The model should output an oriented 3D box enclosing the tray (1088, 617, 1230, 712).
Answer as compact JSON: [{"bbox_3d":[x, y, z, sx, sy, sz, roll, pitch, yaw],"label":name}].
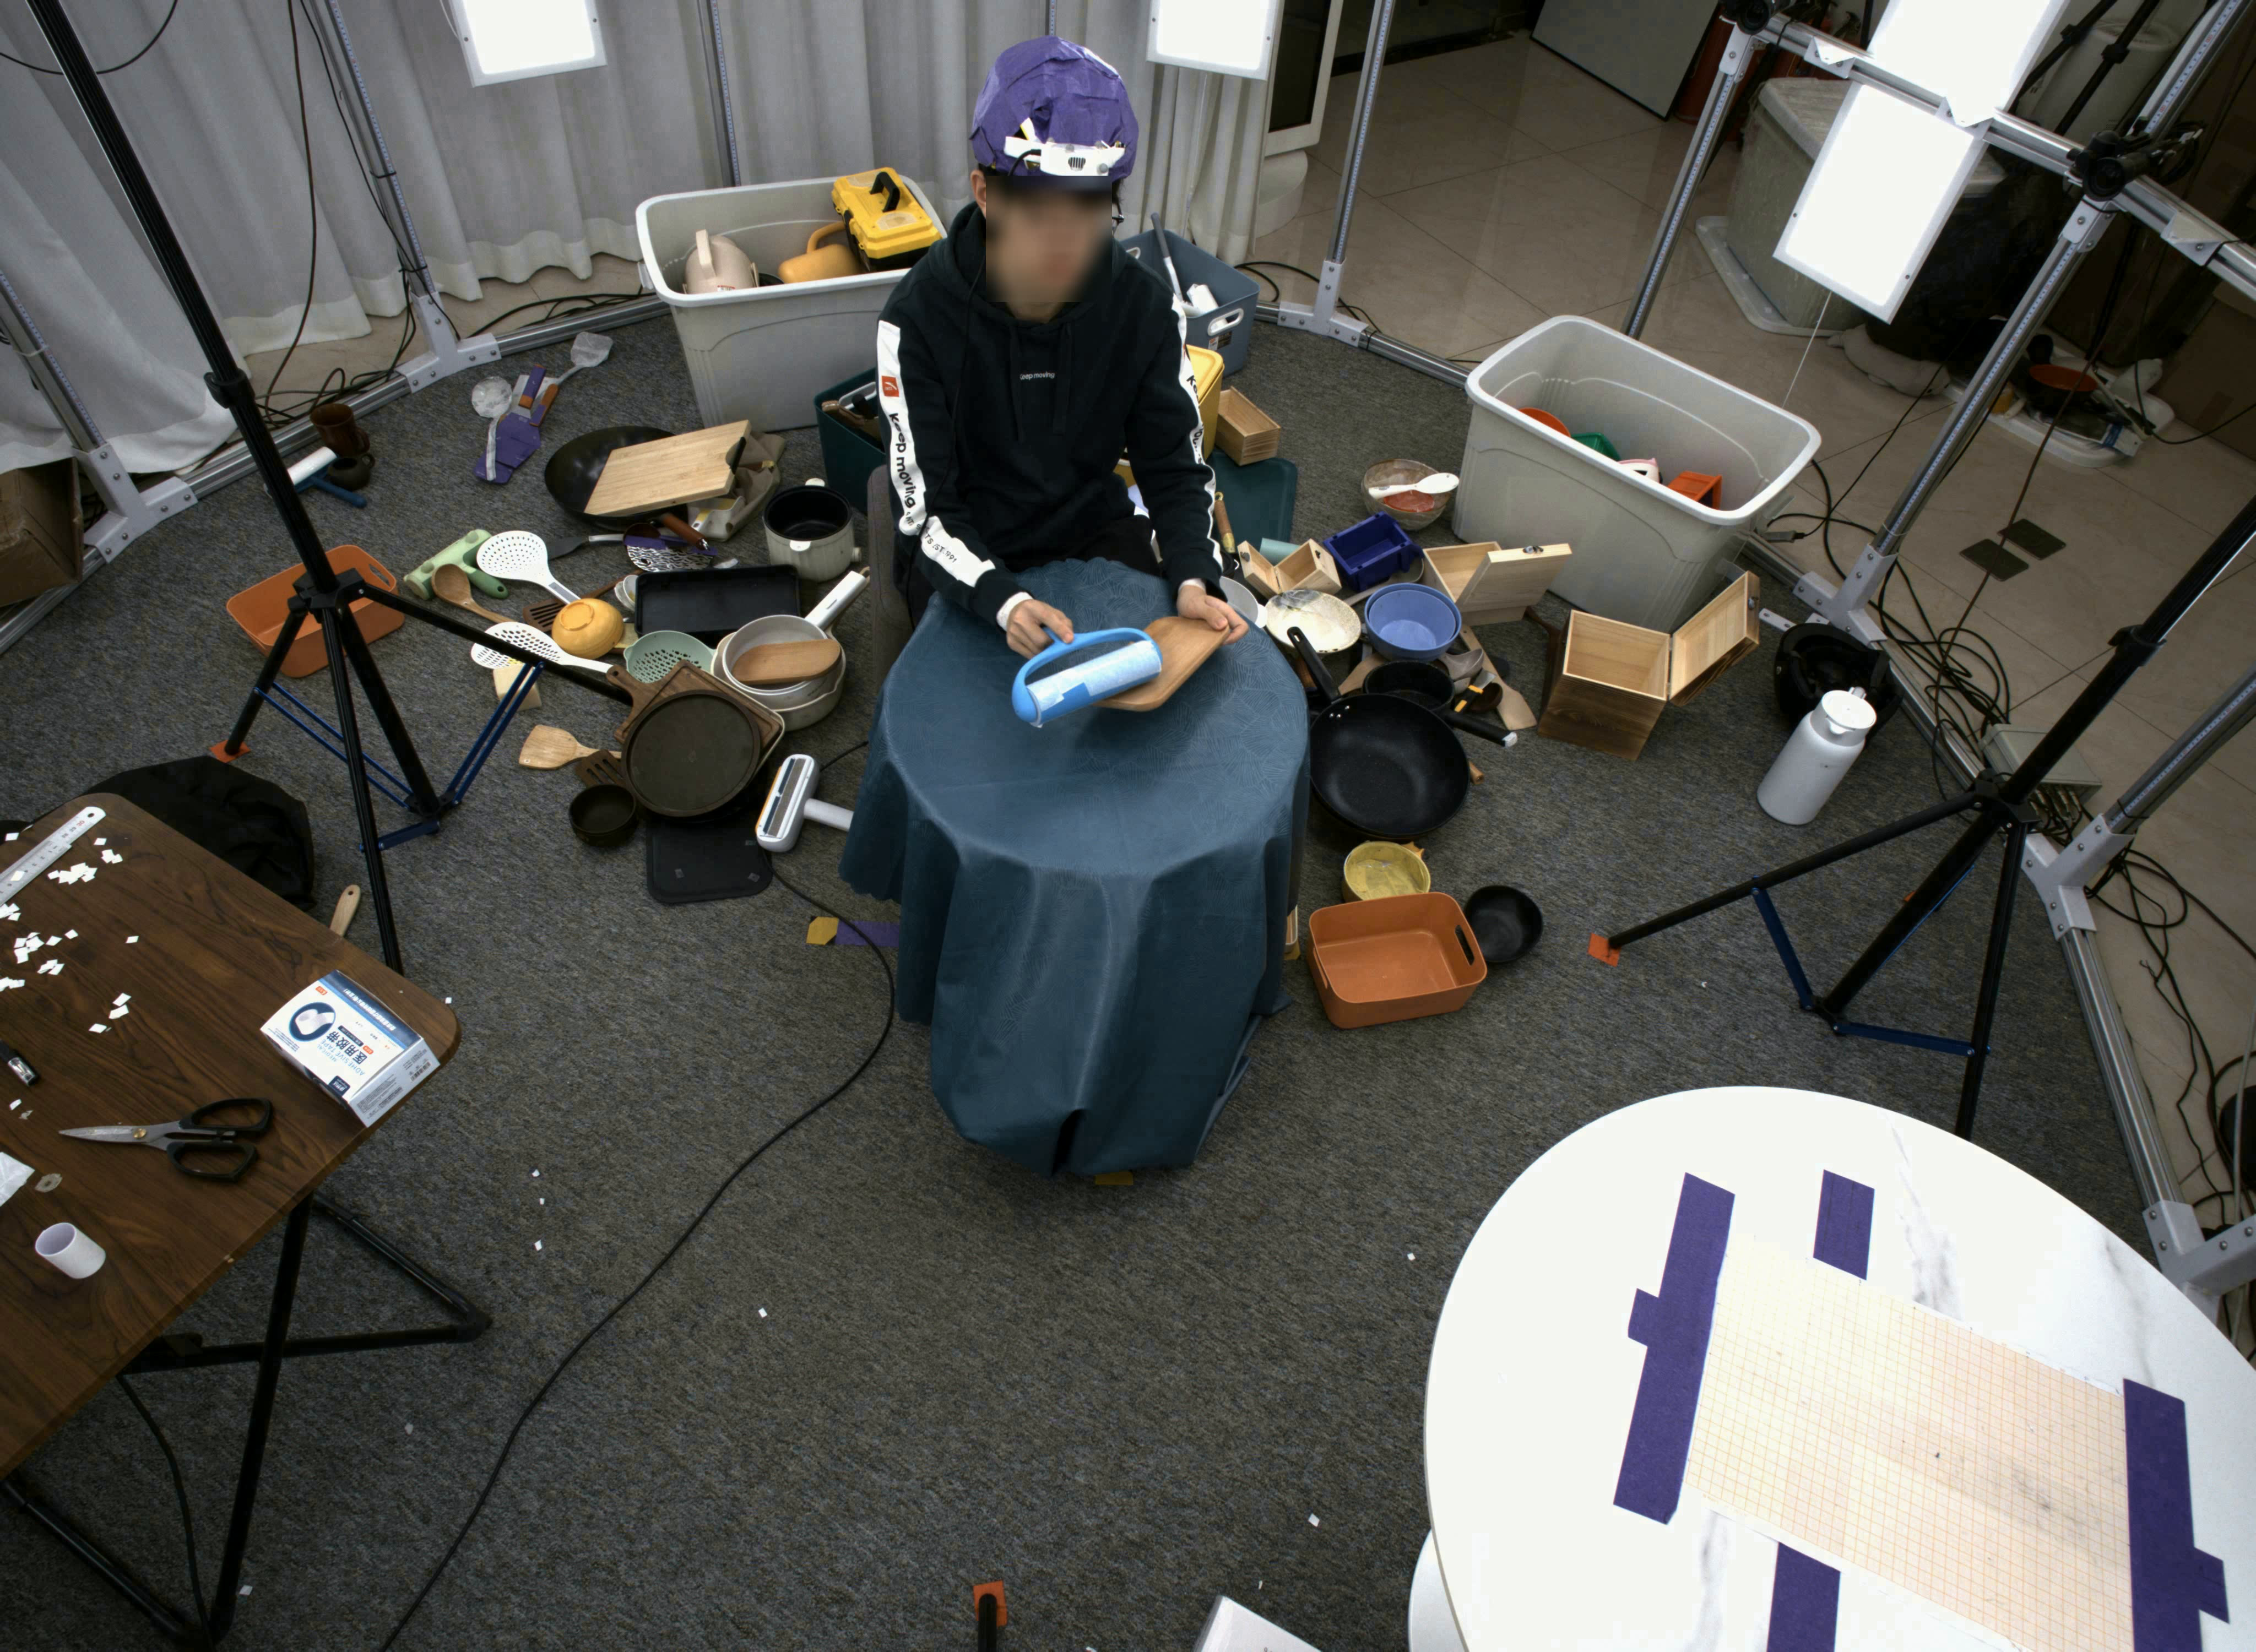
[{"bbox_3d":[0.040,-0.228,1.786,0.131,0.022,0.254,8,38,32],"label":"tray"}]

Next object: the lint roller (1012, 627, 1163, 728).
[{"bbox_3d":[-0.086,-0.225,1.718,0.230,0.066,0.183,-29,54,-27],"label":"lint roller"}]
